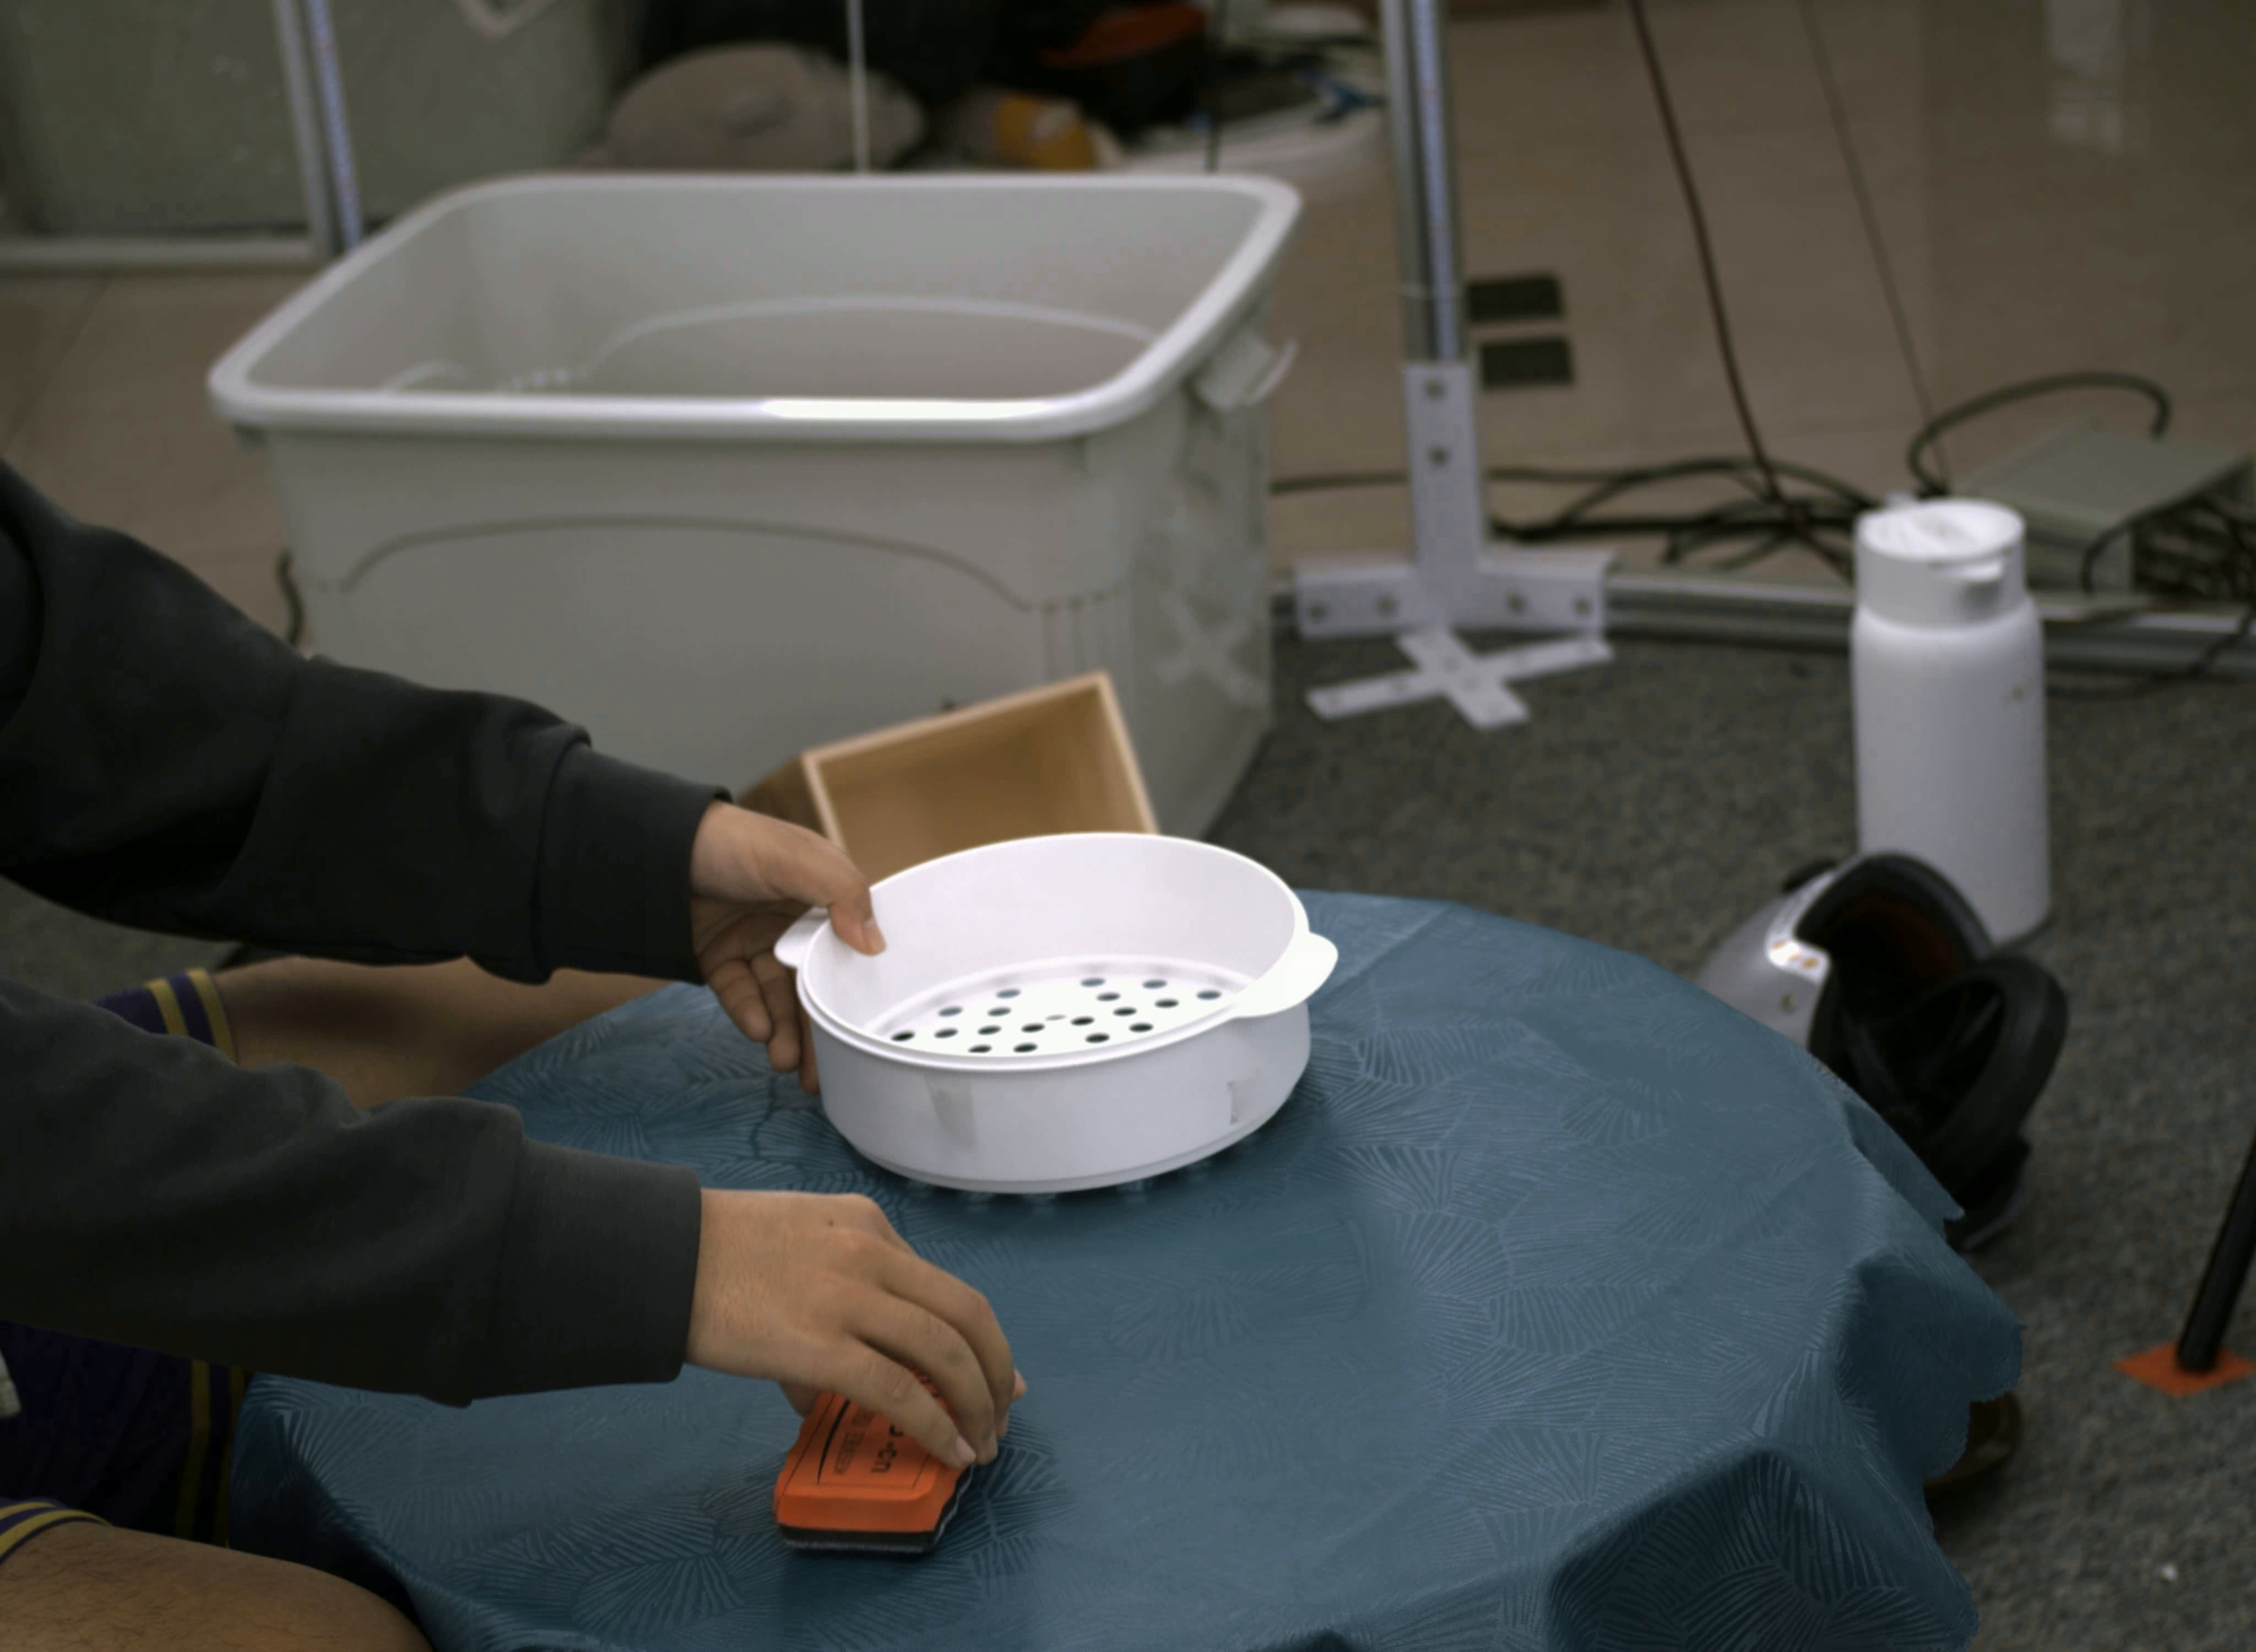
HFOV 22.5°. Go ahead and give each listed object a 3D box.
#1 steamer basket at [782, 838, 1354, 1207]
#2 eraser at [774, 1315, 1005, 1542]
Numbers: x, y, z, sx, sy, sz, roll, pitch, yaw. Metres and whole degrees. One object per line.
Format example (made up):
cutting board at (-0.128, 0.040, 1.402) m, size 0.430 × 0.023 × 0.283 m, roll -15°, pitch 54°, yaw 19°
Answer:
steamer basket at (-0.022, 0.077, 2.210) m, size 0.230 × 0.070 × 0.199 m, roll 6°, pitch 28°, yaw 24°
eraser at (-0.082, 0.208, 1.967) m, size 0.059 × 0.023 × 0.106 m, roll -8°, pitch 25°, yaw 18°
